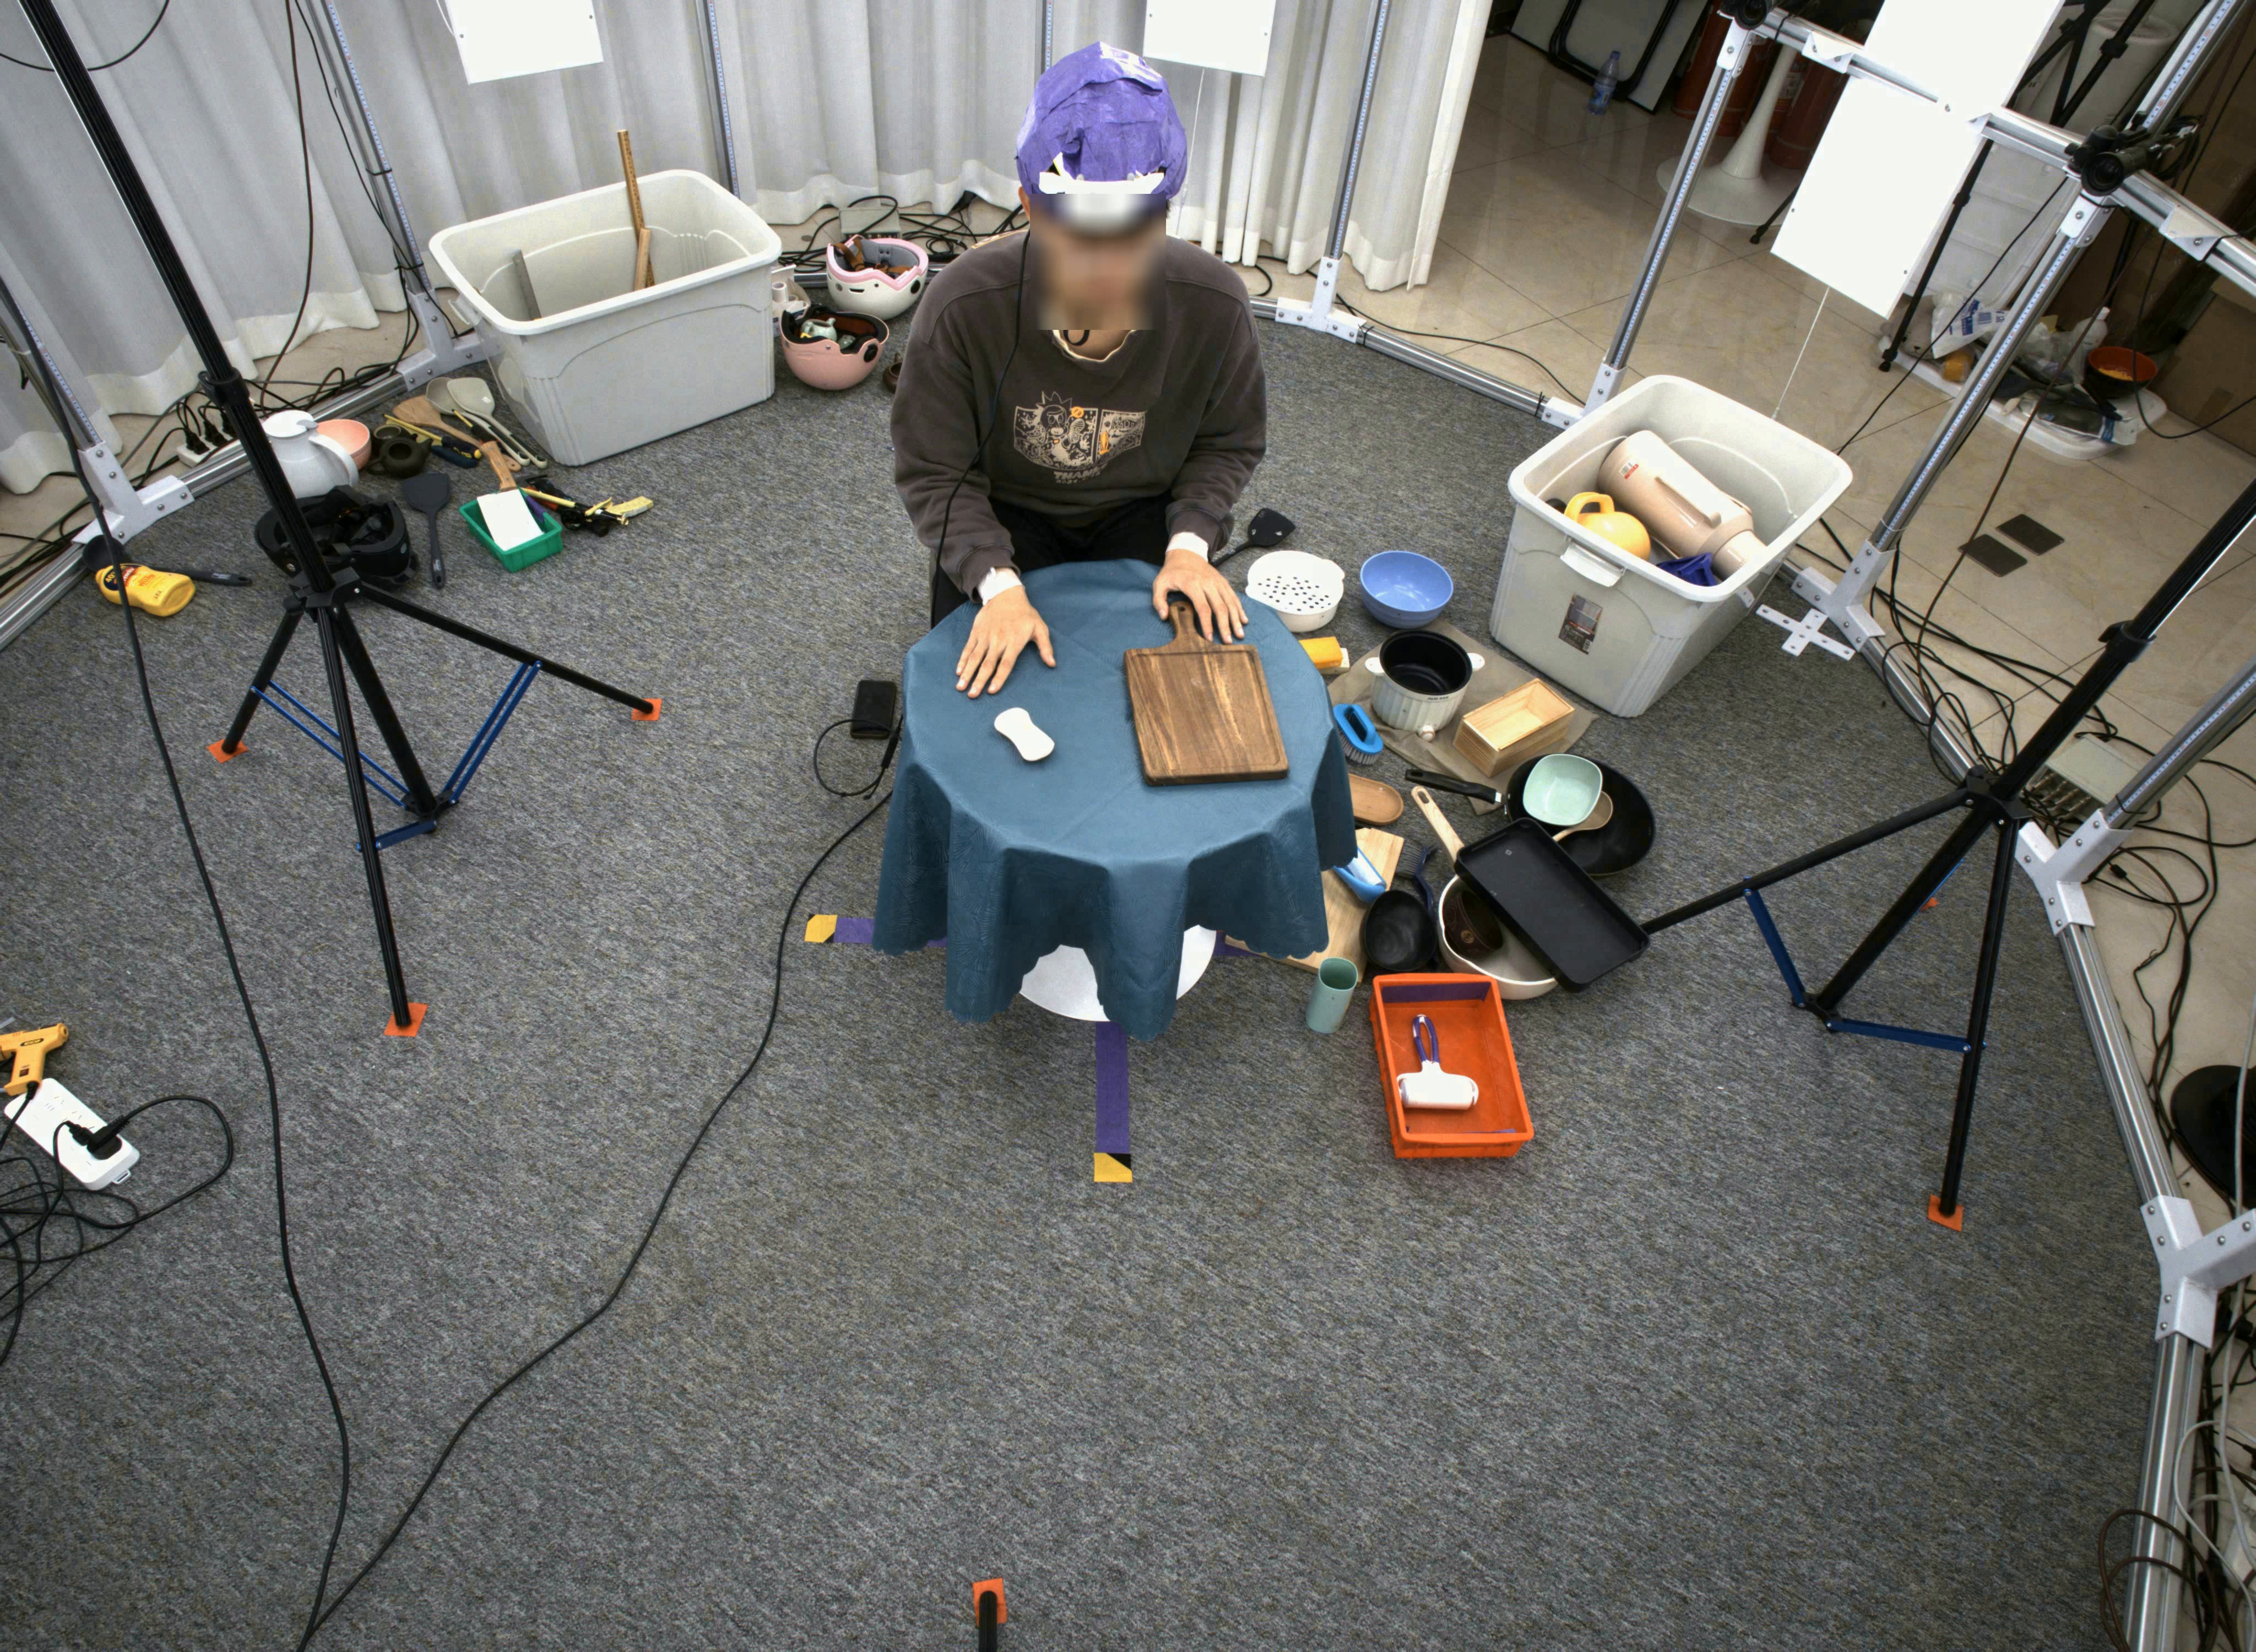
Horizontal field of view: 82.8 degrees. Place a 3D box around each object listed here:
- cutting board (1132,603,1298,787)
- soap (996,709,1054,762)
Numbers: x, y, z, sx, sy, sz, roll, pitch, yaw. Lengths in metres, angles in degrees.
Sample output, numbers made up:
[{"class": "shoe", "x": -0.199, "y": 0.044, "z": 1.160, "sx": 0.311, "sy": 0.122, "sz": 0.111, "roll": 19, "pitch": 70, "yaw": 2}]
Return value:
[{"class": "cutting board", "x": 0.112, "y": -0.196, "z": 1.830, "sx": 0.201, "sy": 0.022, "sz": 0.361, "roll": -3, "pitch": 49, "yaw": -6}, {"class": "soap", "x": -0.141, "y": -0.124, "z": 1.747, "sx": 0.050, "sy": 0.029, "sz": 0.096, "roll": -25, "pitch": 54, "yaw": -24}]
